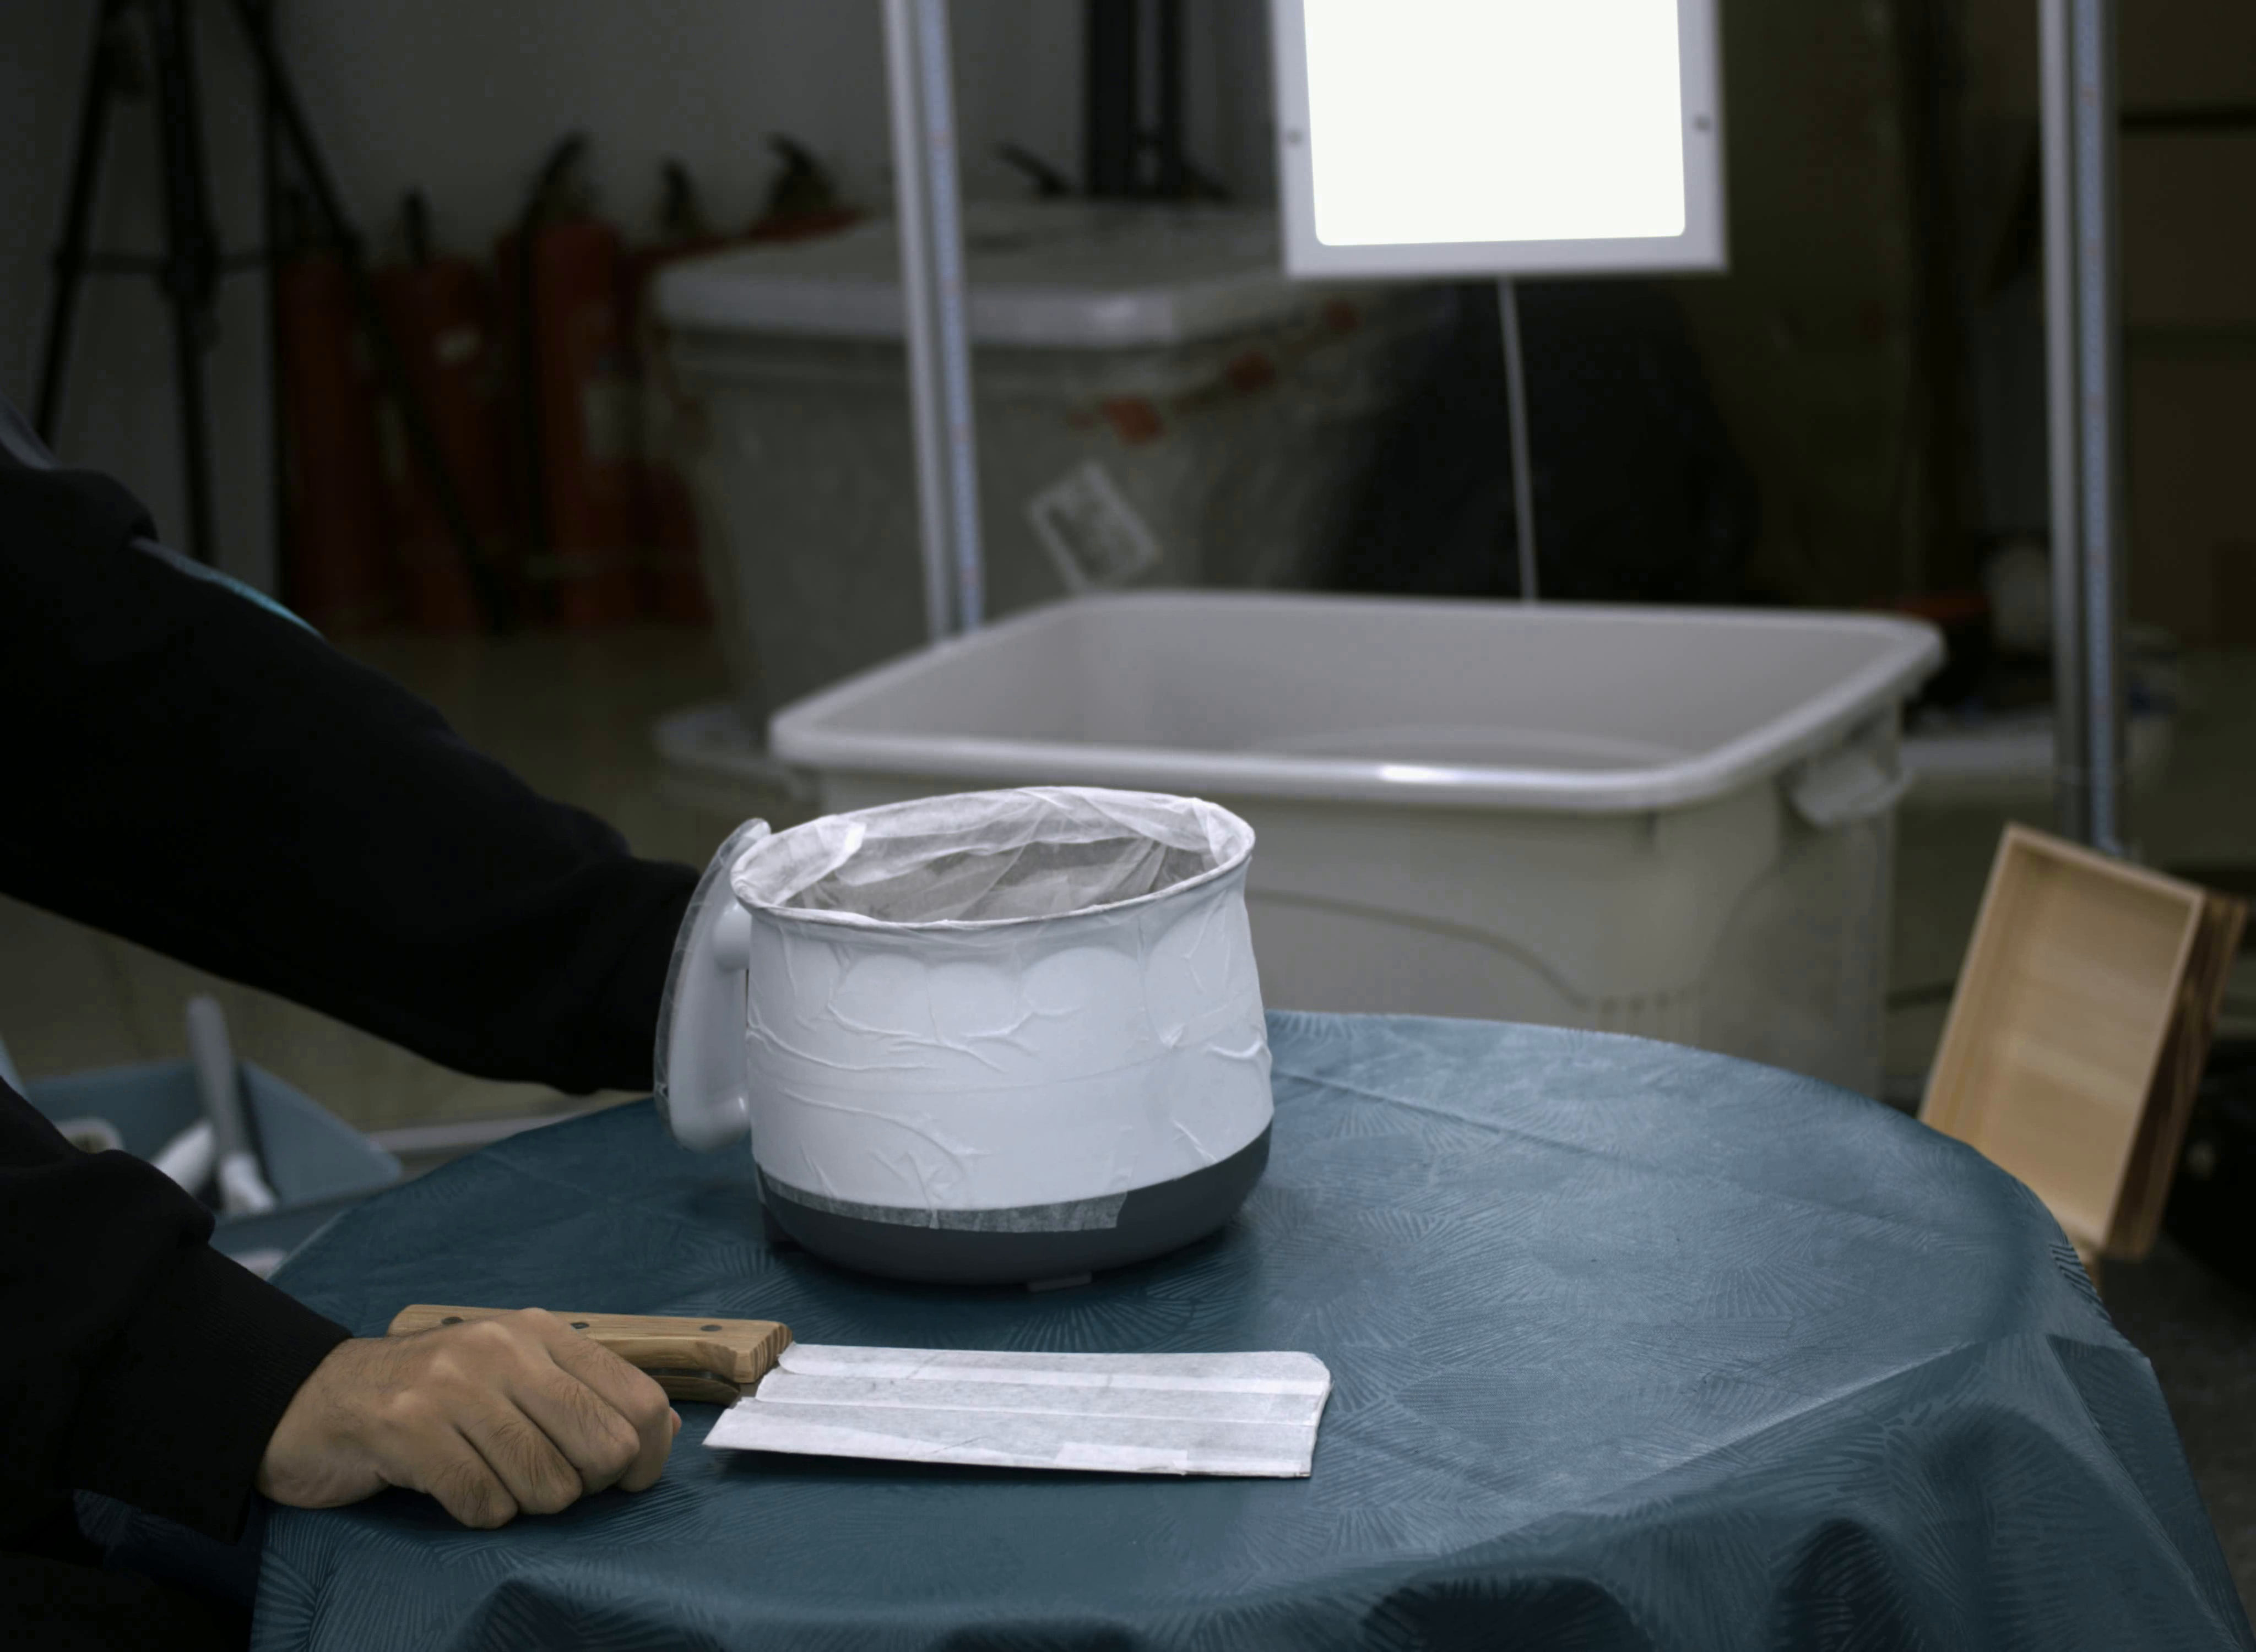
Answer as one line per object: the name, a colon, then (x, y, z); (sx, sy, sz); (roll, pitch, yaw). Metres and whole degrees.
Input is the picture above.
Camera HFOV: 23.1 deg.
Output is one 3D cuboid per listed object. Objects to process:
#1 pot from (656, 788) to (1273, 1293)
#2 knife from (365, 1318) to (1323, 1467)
pot: (-0.064, 0.069, 1.869); (0.238, 0.137, 0.174); (5, 16, 33)
knife: (-0.087, 0.174, 1.701); (0.319, 0.022, 0.112); (2, 16, 17)
